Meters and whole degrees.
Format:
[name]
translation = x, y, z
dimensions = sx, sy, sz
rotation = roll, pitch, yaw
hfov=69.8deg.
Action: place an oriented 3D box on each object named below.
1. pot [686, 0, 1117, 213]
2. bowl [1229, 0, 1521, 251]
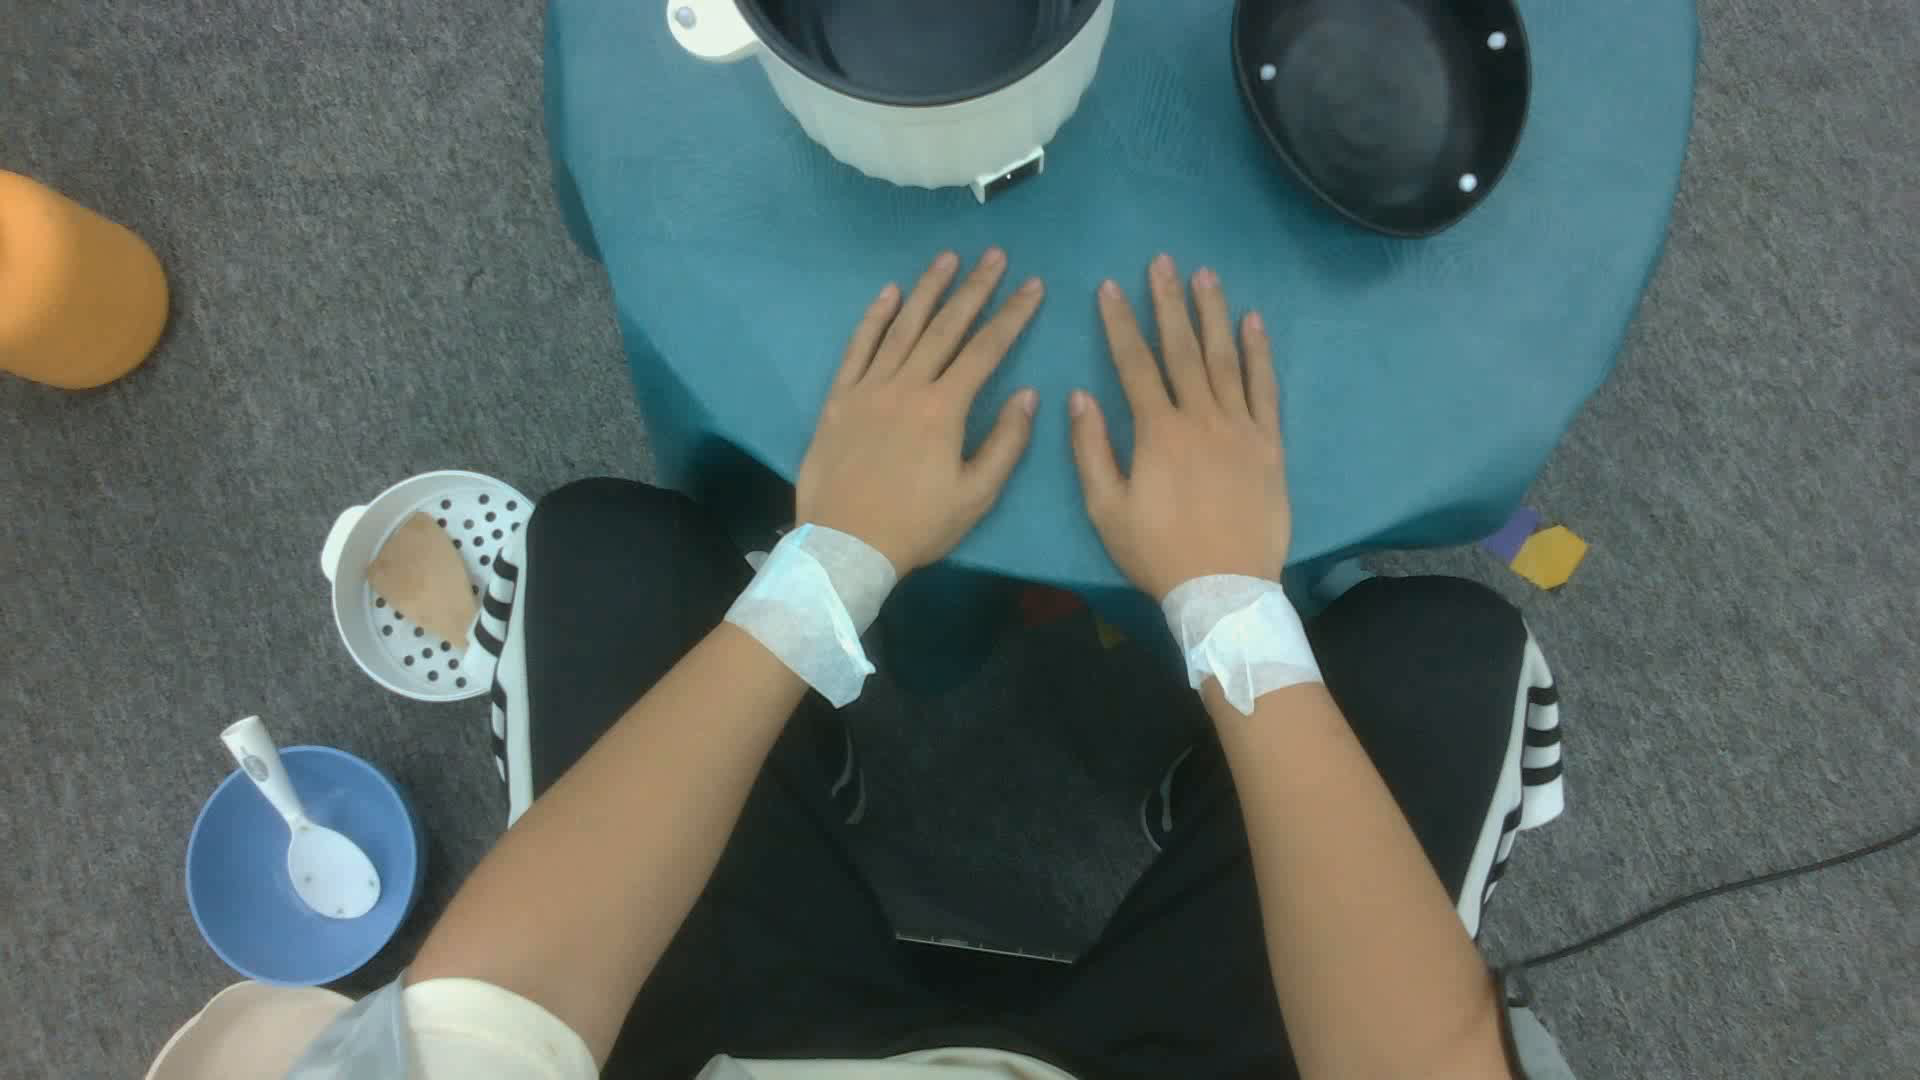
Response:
[pot]
translation = -0.017, -0.267, 0.680
dimensions = 0.240, 0.142, 0.190
rotation = -29, 86, -2
[bowl]
translation = 0.206, -0.225, 0.702
dimensions = 0.137, 0.066, 0.170
rotation = -22, 83, 1
